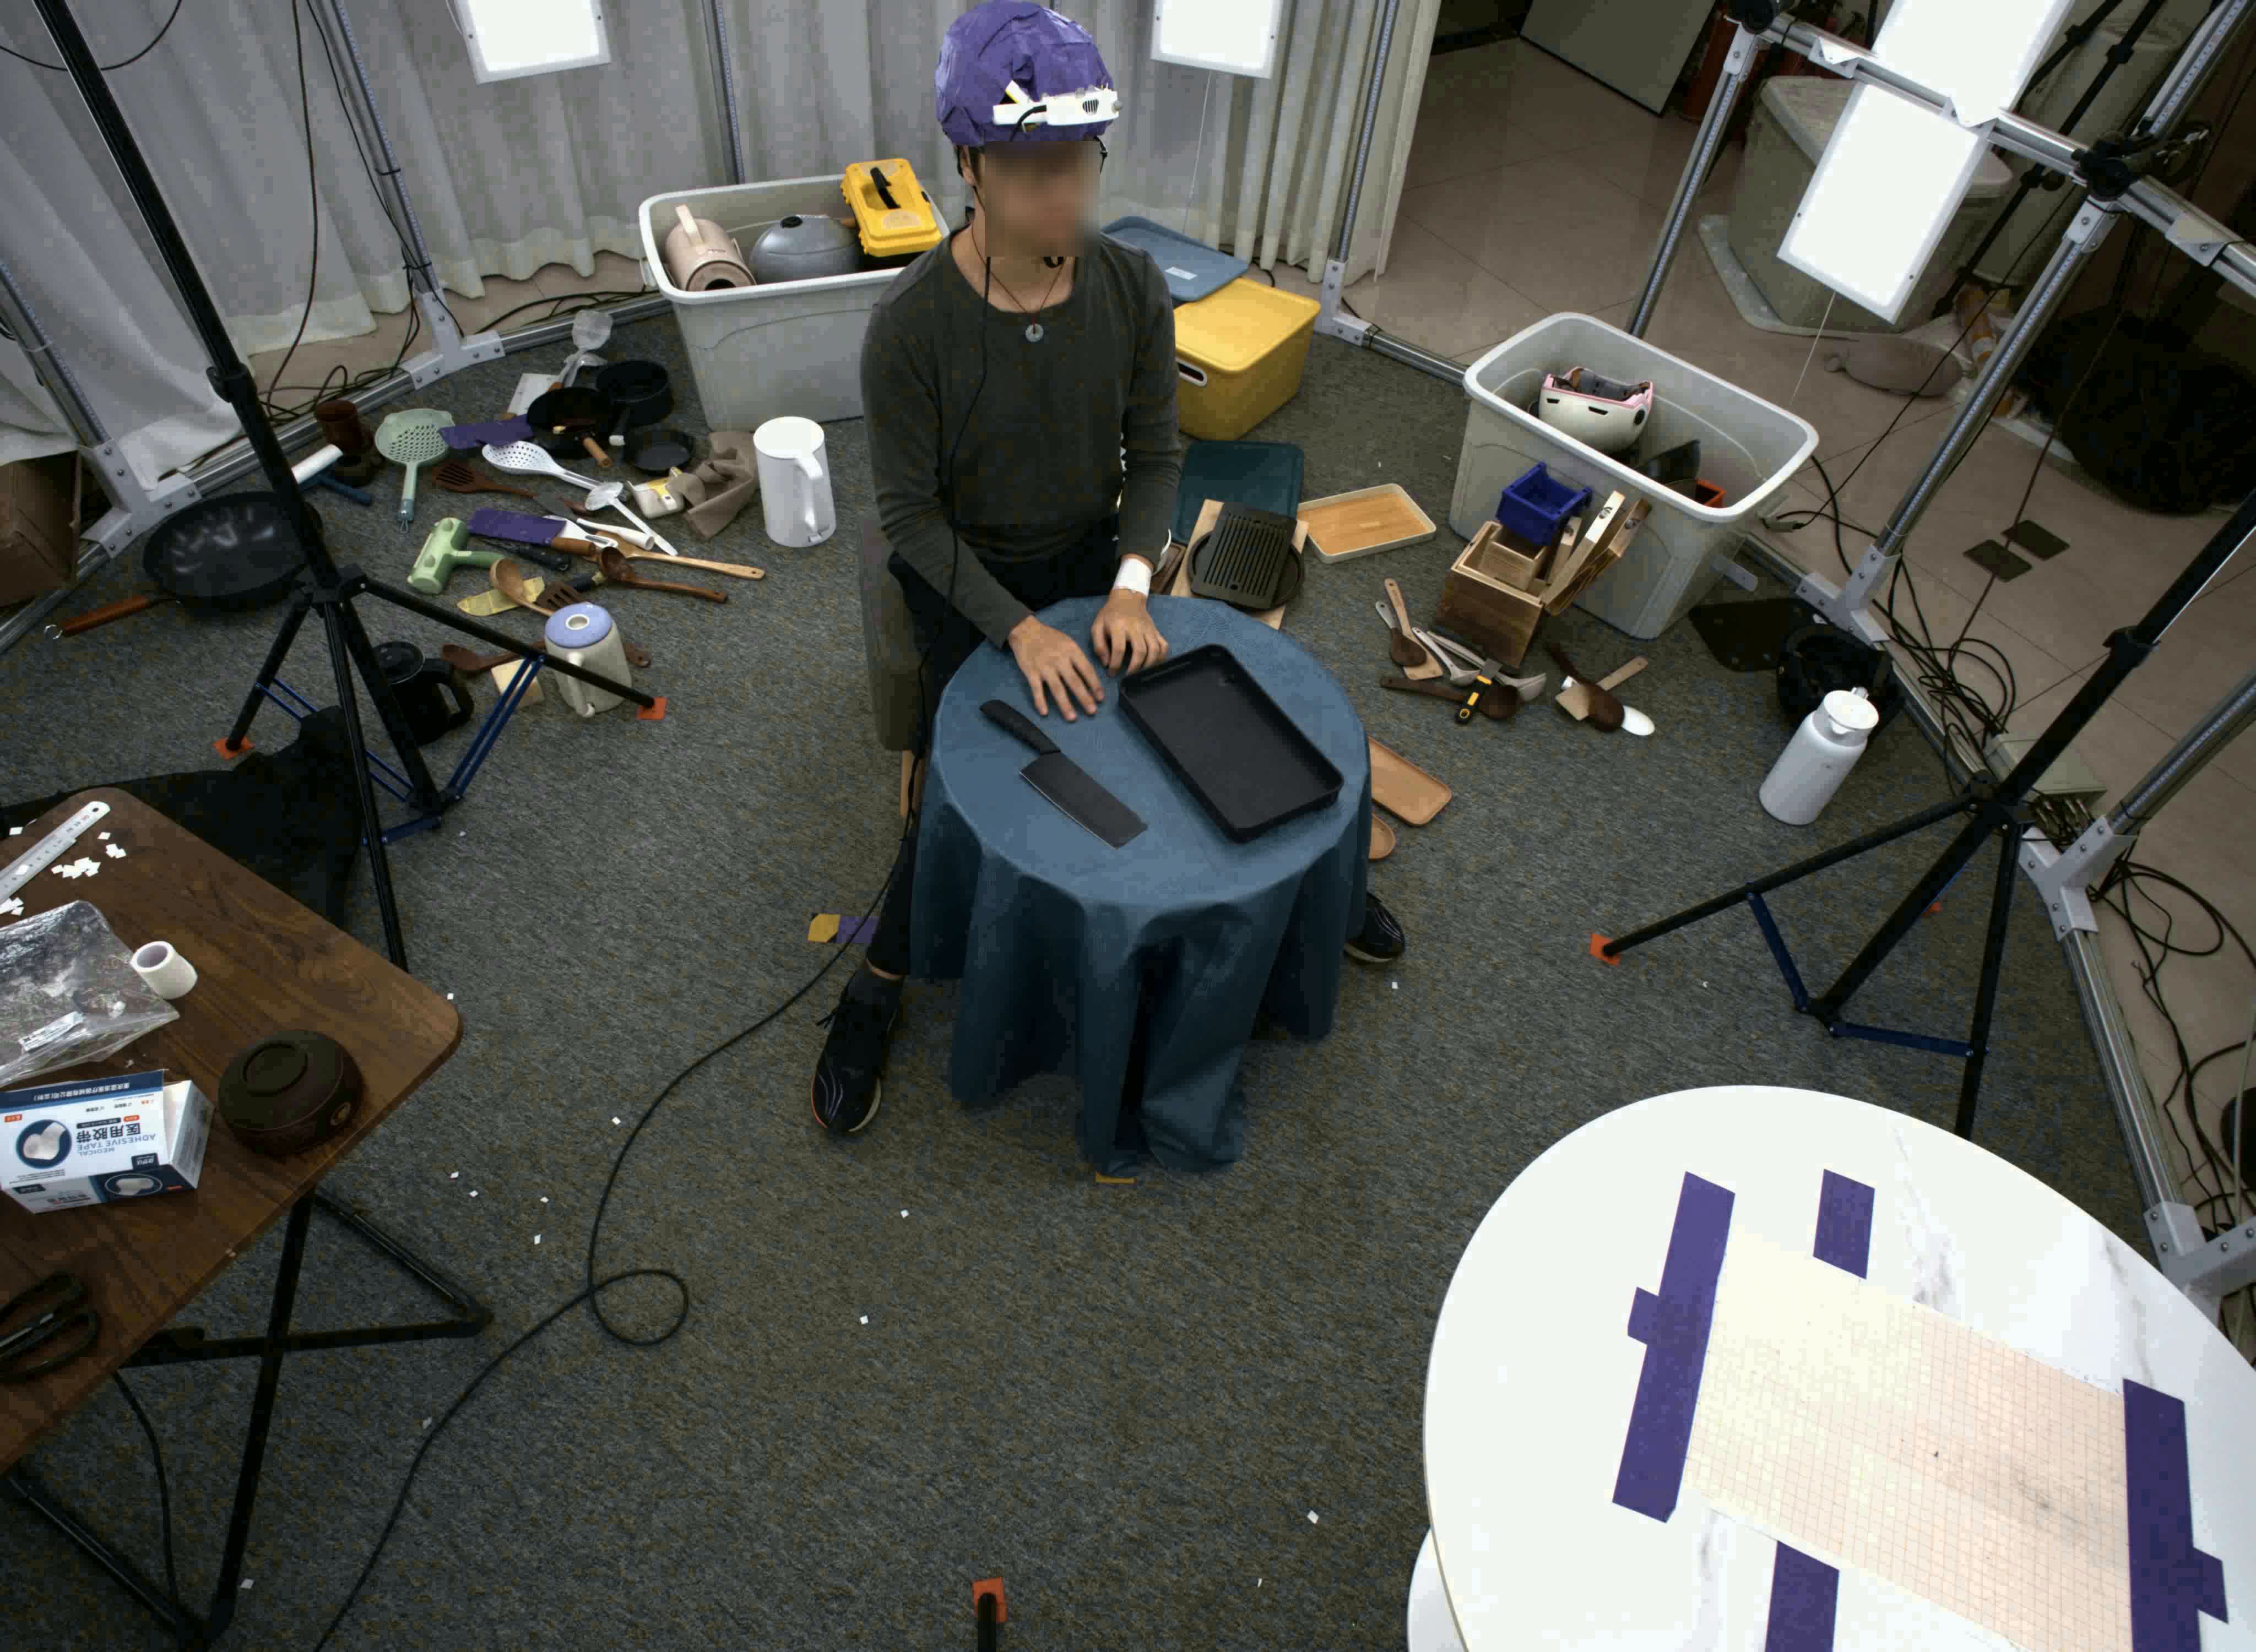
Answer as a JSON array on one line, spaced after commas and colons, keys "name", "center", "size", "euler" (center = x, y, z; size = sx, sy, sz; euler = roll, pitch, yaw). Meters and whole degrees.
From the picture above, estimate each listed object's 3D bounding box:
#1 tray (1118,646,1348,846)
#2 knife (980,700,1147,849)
[{"name": "tray", "center": [0.138, -0.117, 1.755], "size": [0.185, 0.036, 0.324], "euler": [-24, 54, -22]}, {"name": "knife", "center": [-0.097, -0.074, 1.716], "size": [0.081, 0.020, 0.307], "euler": [-31, 59, -26]}]
